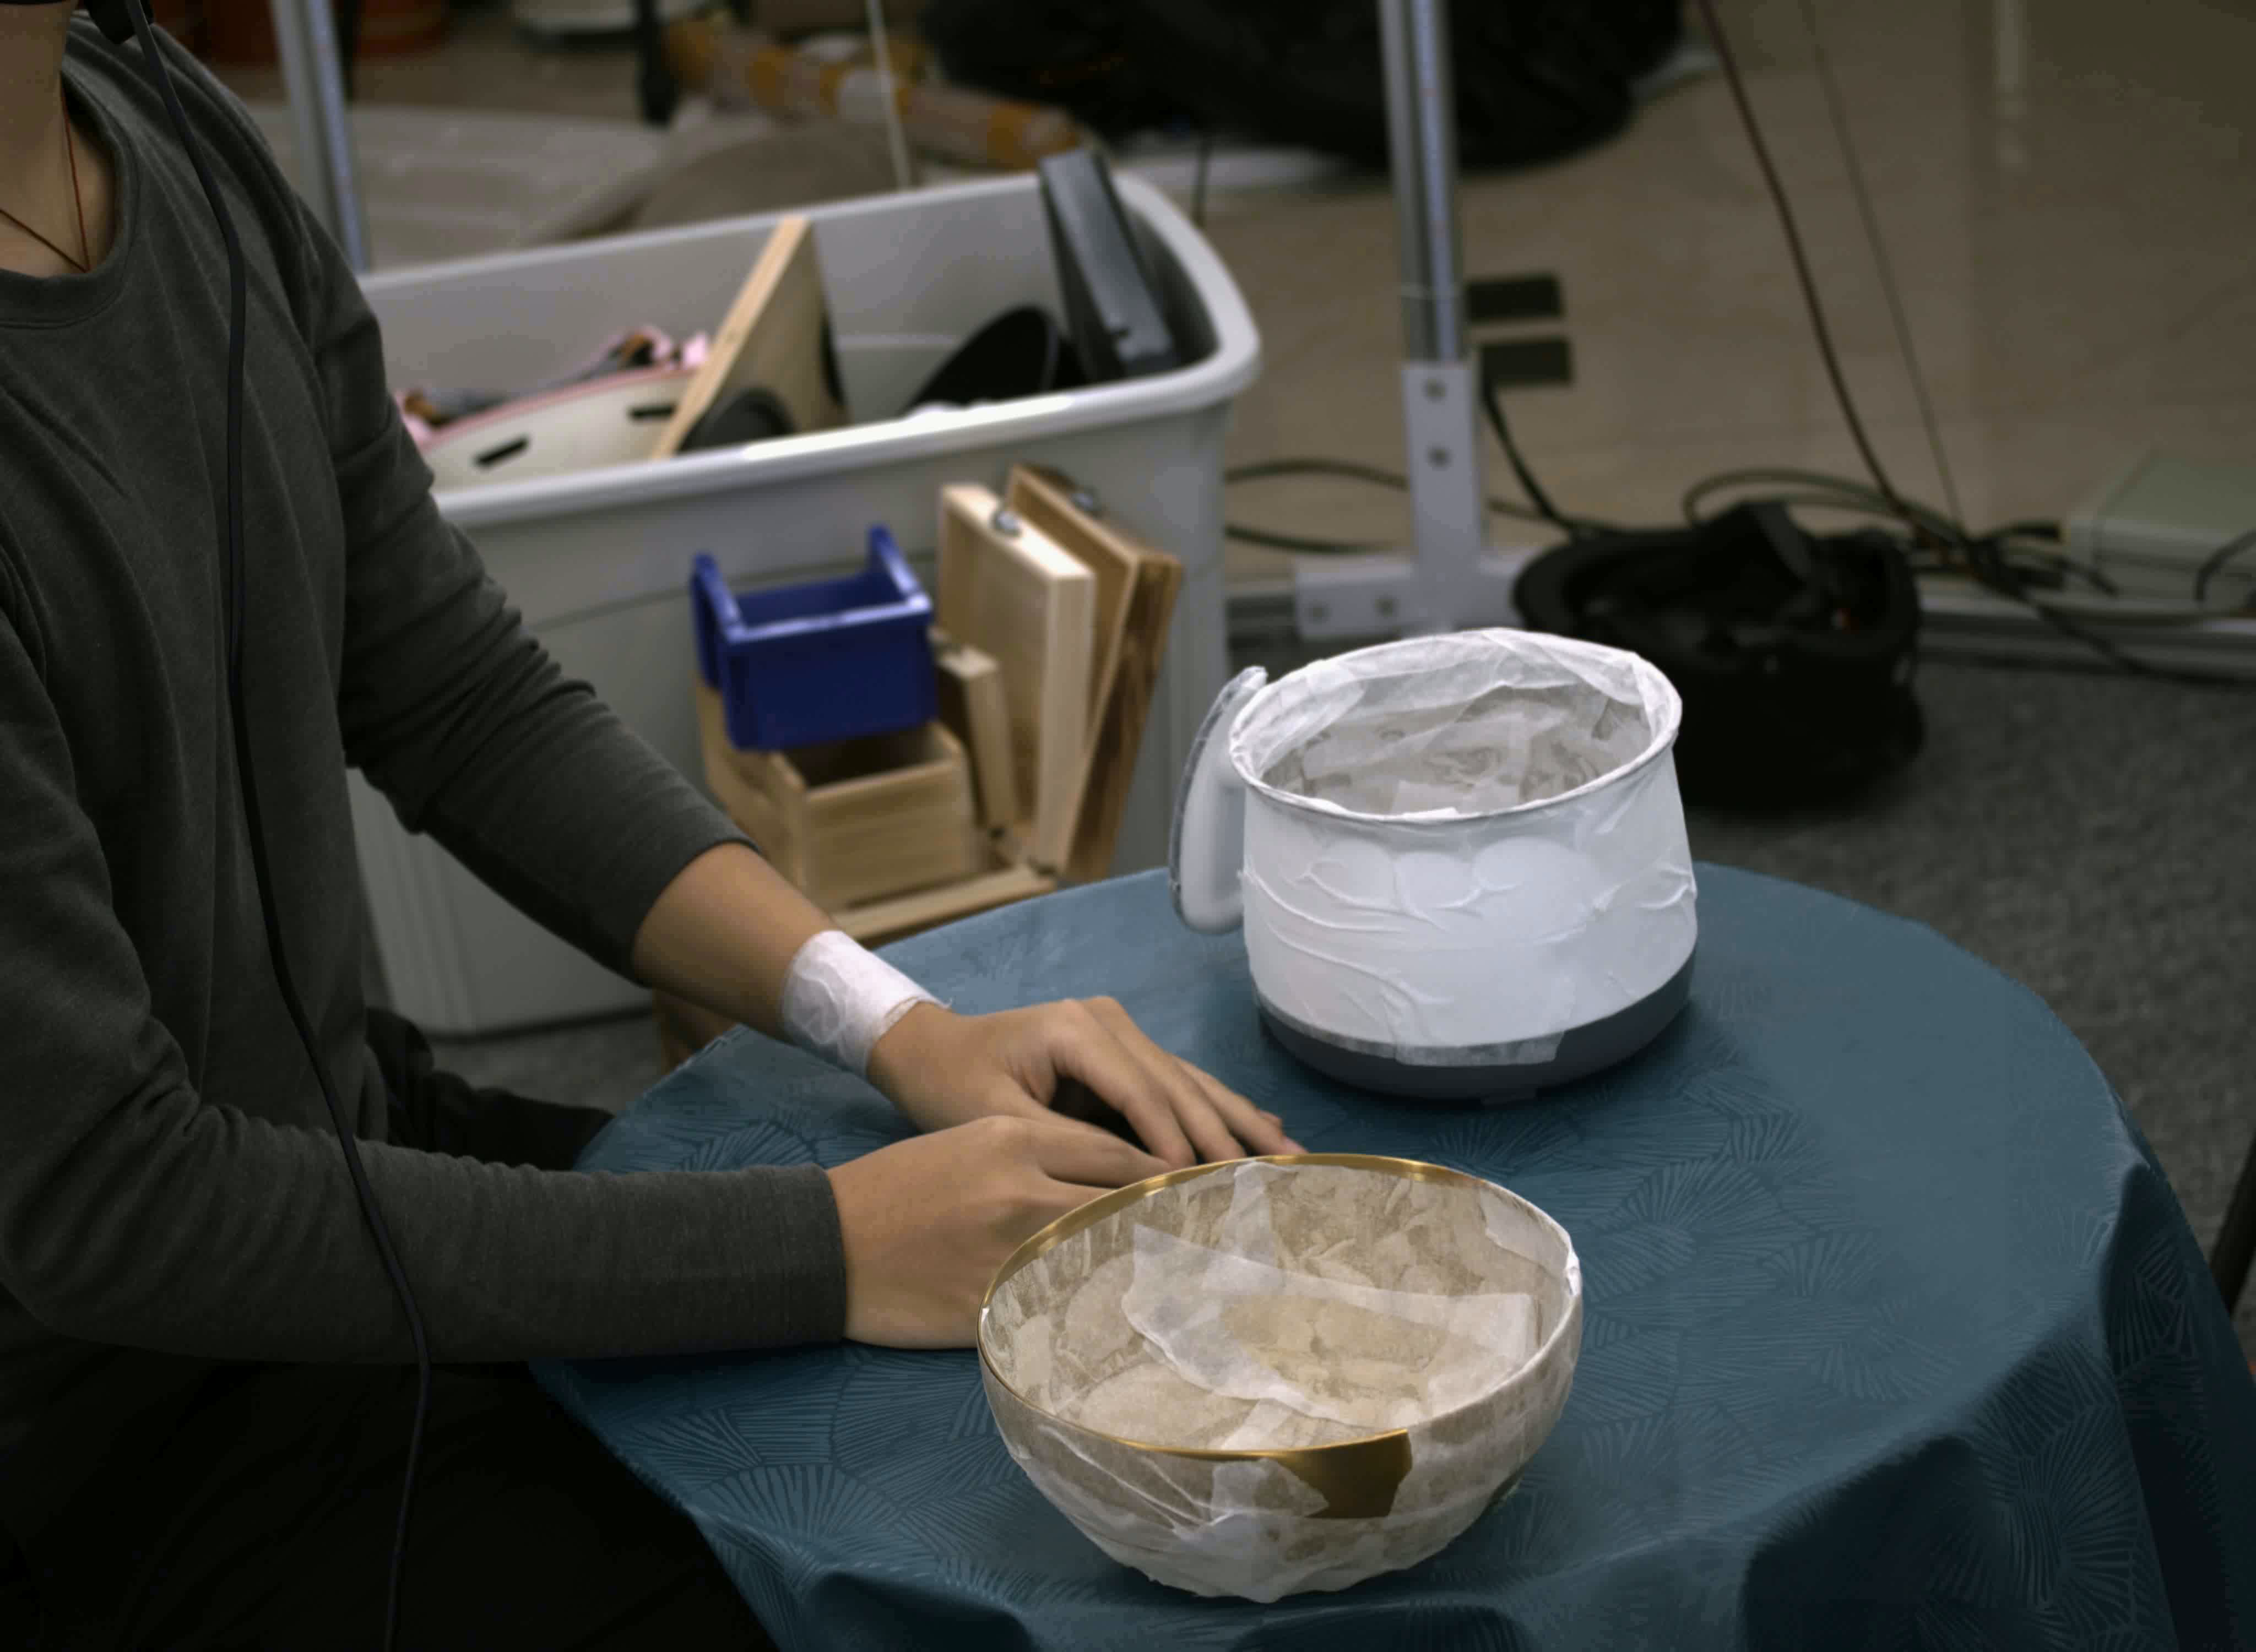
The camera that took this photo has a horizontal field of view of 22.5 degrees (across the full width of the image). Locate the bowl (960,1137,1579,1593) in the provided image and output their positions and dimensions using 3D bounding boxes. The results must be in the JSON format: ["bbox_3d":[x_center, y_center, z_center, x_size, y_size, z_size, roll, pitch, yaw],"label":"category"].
[{"bbox_3d":[0.051,0.194,1.908,0.214,0.096,0.211,-7,26,4],"label":"bowl"}]

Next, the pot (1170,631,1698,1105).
[{"bbox_3d":[0.111,0.012,2.232,0.232,0.139,0.177,13,31,36],"label":"pot"}]
